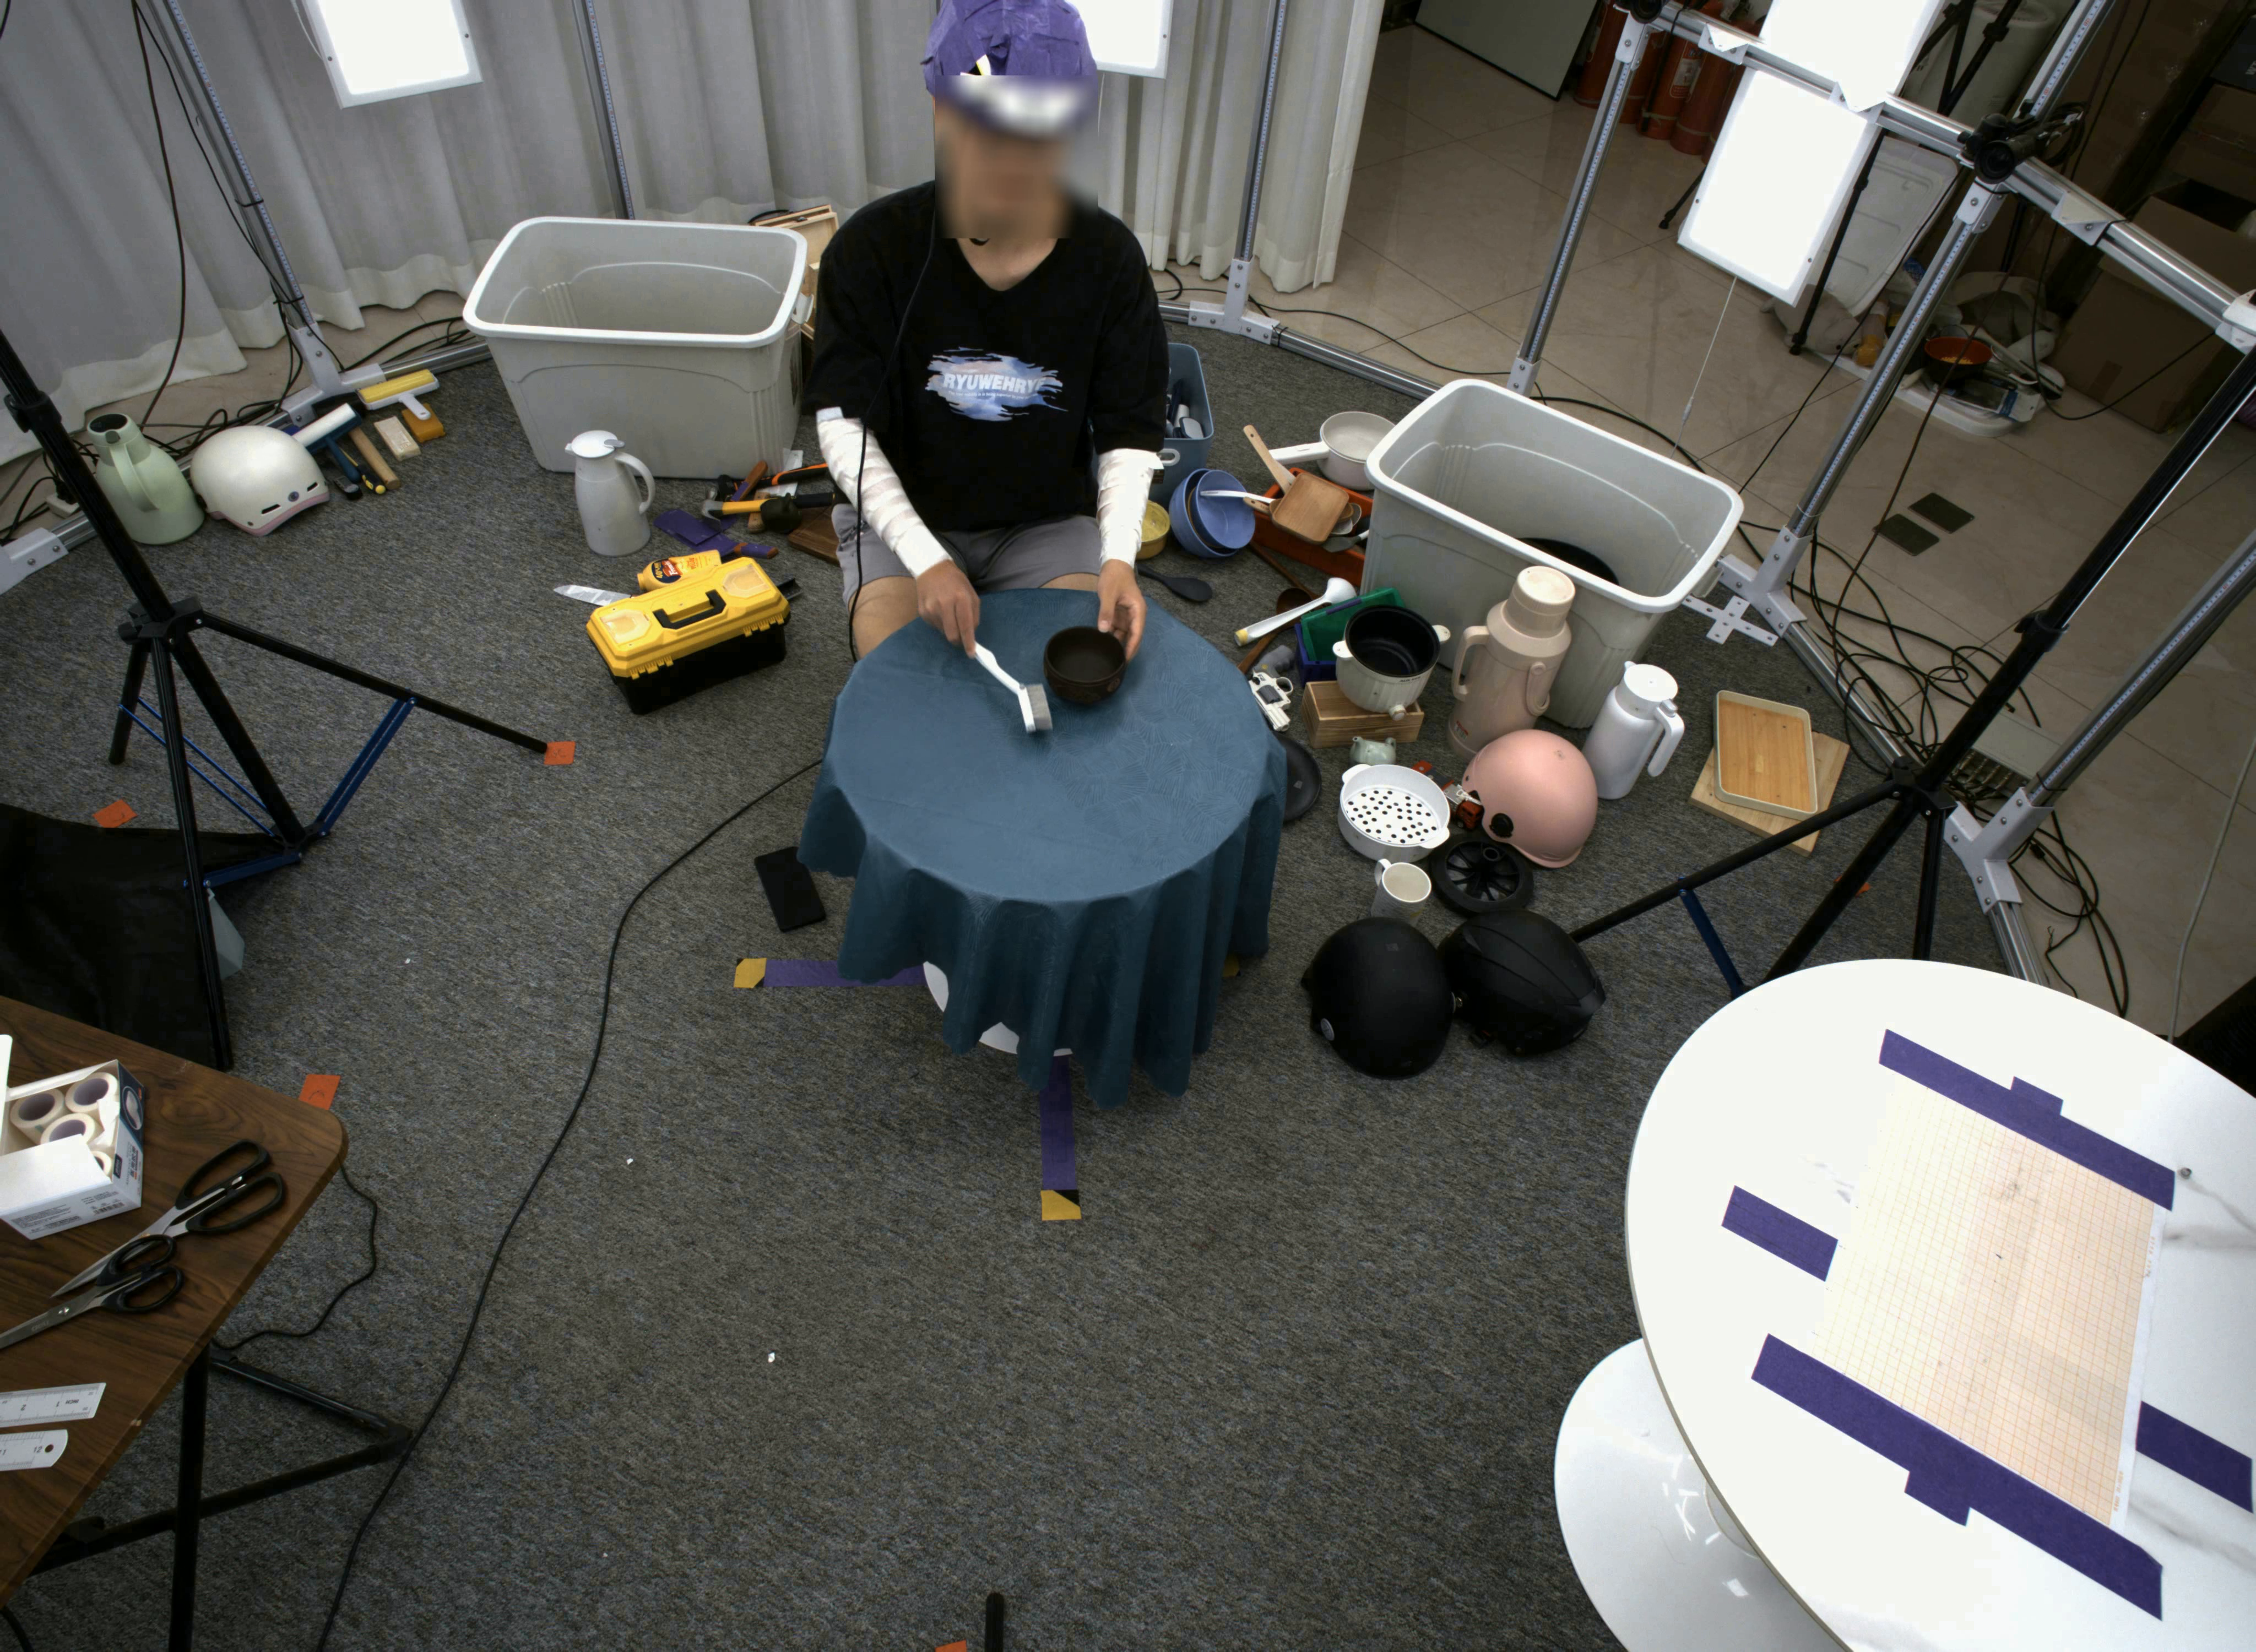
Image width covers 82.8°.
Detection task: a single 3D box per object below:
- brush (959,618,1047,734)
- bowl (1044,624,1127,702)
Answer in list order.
[{"bbox_3d":[-0.172,-0.219,1.806,0.050,0.033,0.249,-24,54,-12],"label":"brush"},{"bbox_3d":[-0.060,-0.222,1.813,0.118,0.068,0.121,1,48,-1],"label":"bowl"}]
